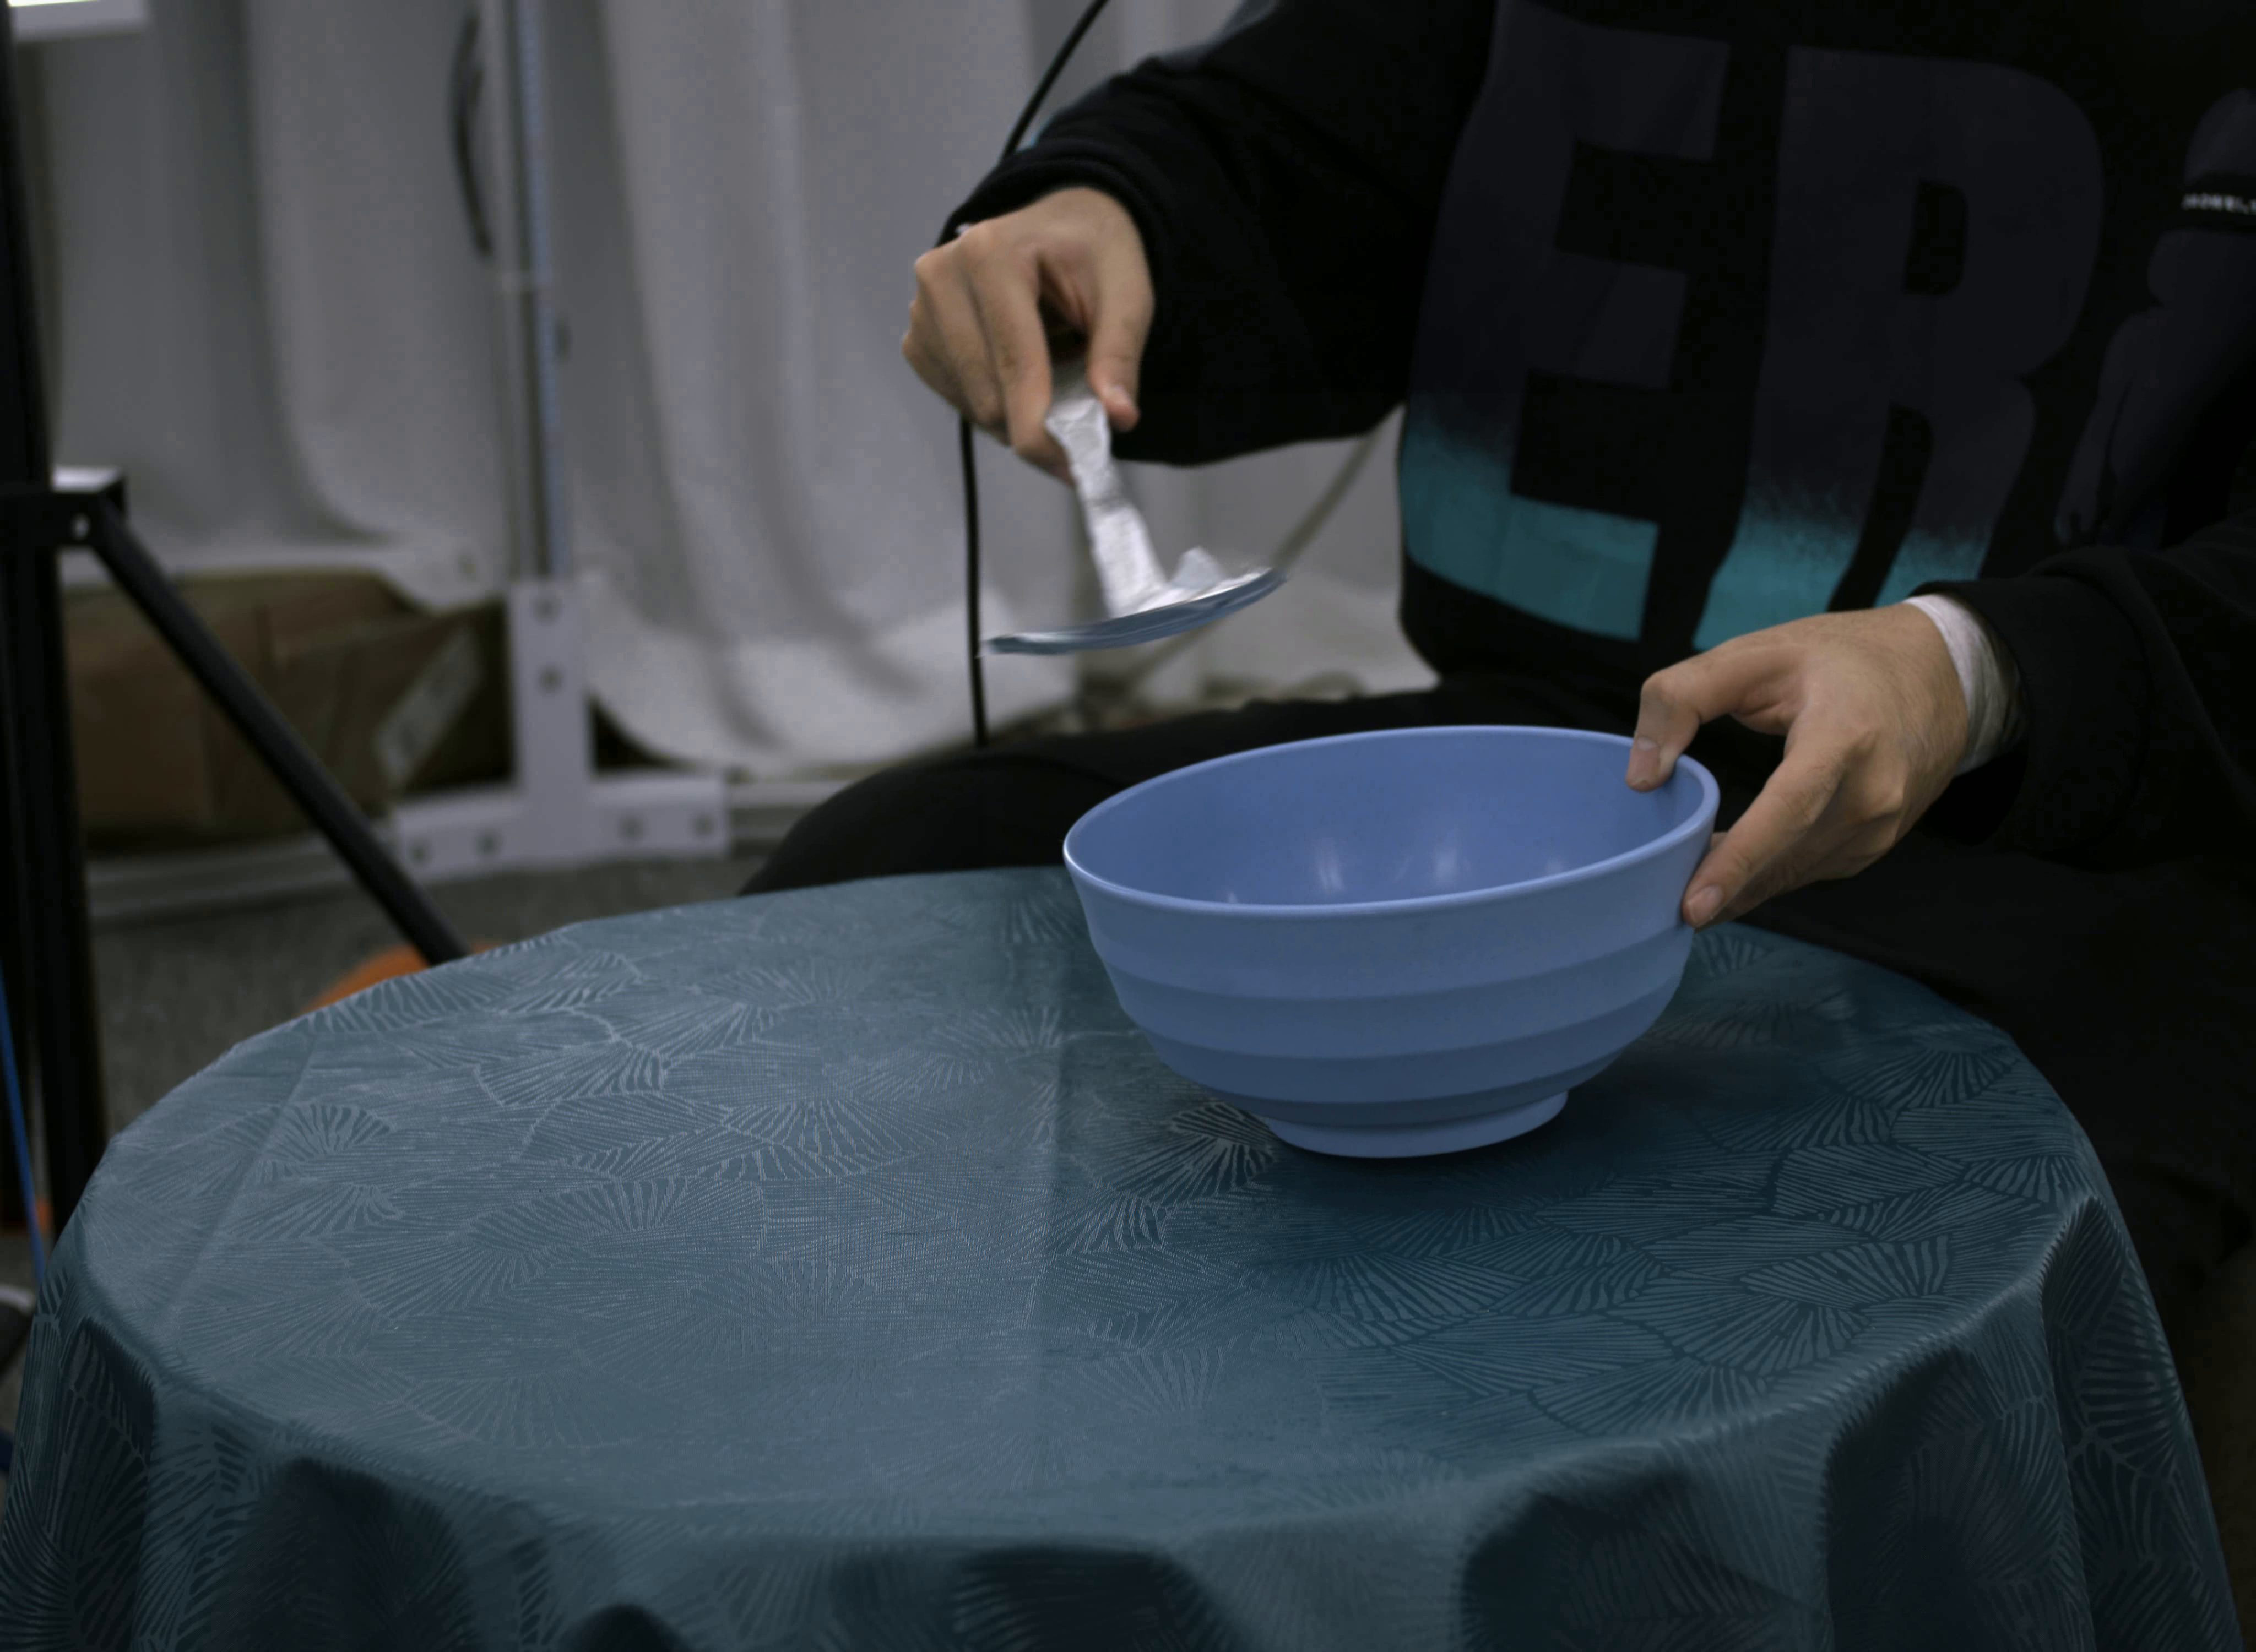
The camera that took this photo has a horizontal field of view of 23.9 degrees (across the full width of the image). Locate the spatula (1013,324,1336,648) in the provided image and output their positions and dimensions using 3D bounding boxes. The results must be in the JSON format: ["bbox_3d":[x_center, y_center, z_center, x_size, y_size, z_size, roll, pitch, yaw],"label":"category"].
[{"bbox_3d":[-0.002,-0.117,1.688,0.098,0.044,0.369,-17,24,0],"label":"spatula"}]

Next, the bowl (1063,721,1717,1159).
[{"bbox_3d":[0.083,0.040,1.593,0.196,0.095,0.197,-7,16,1],"label":"bowl"}]
